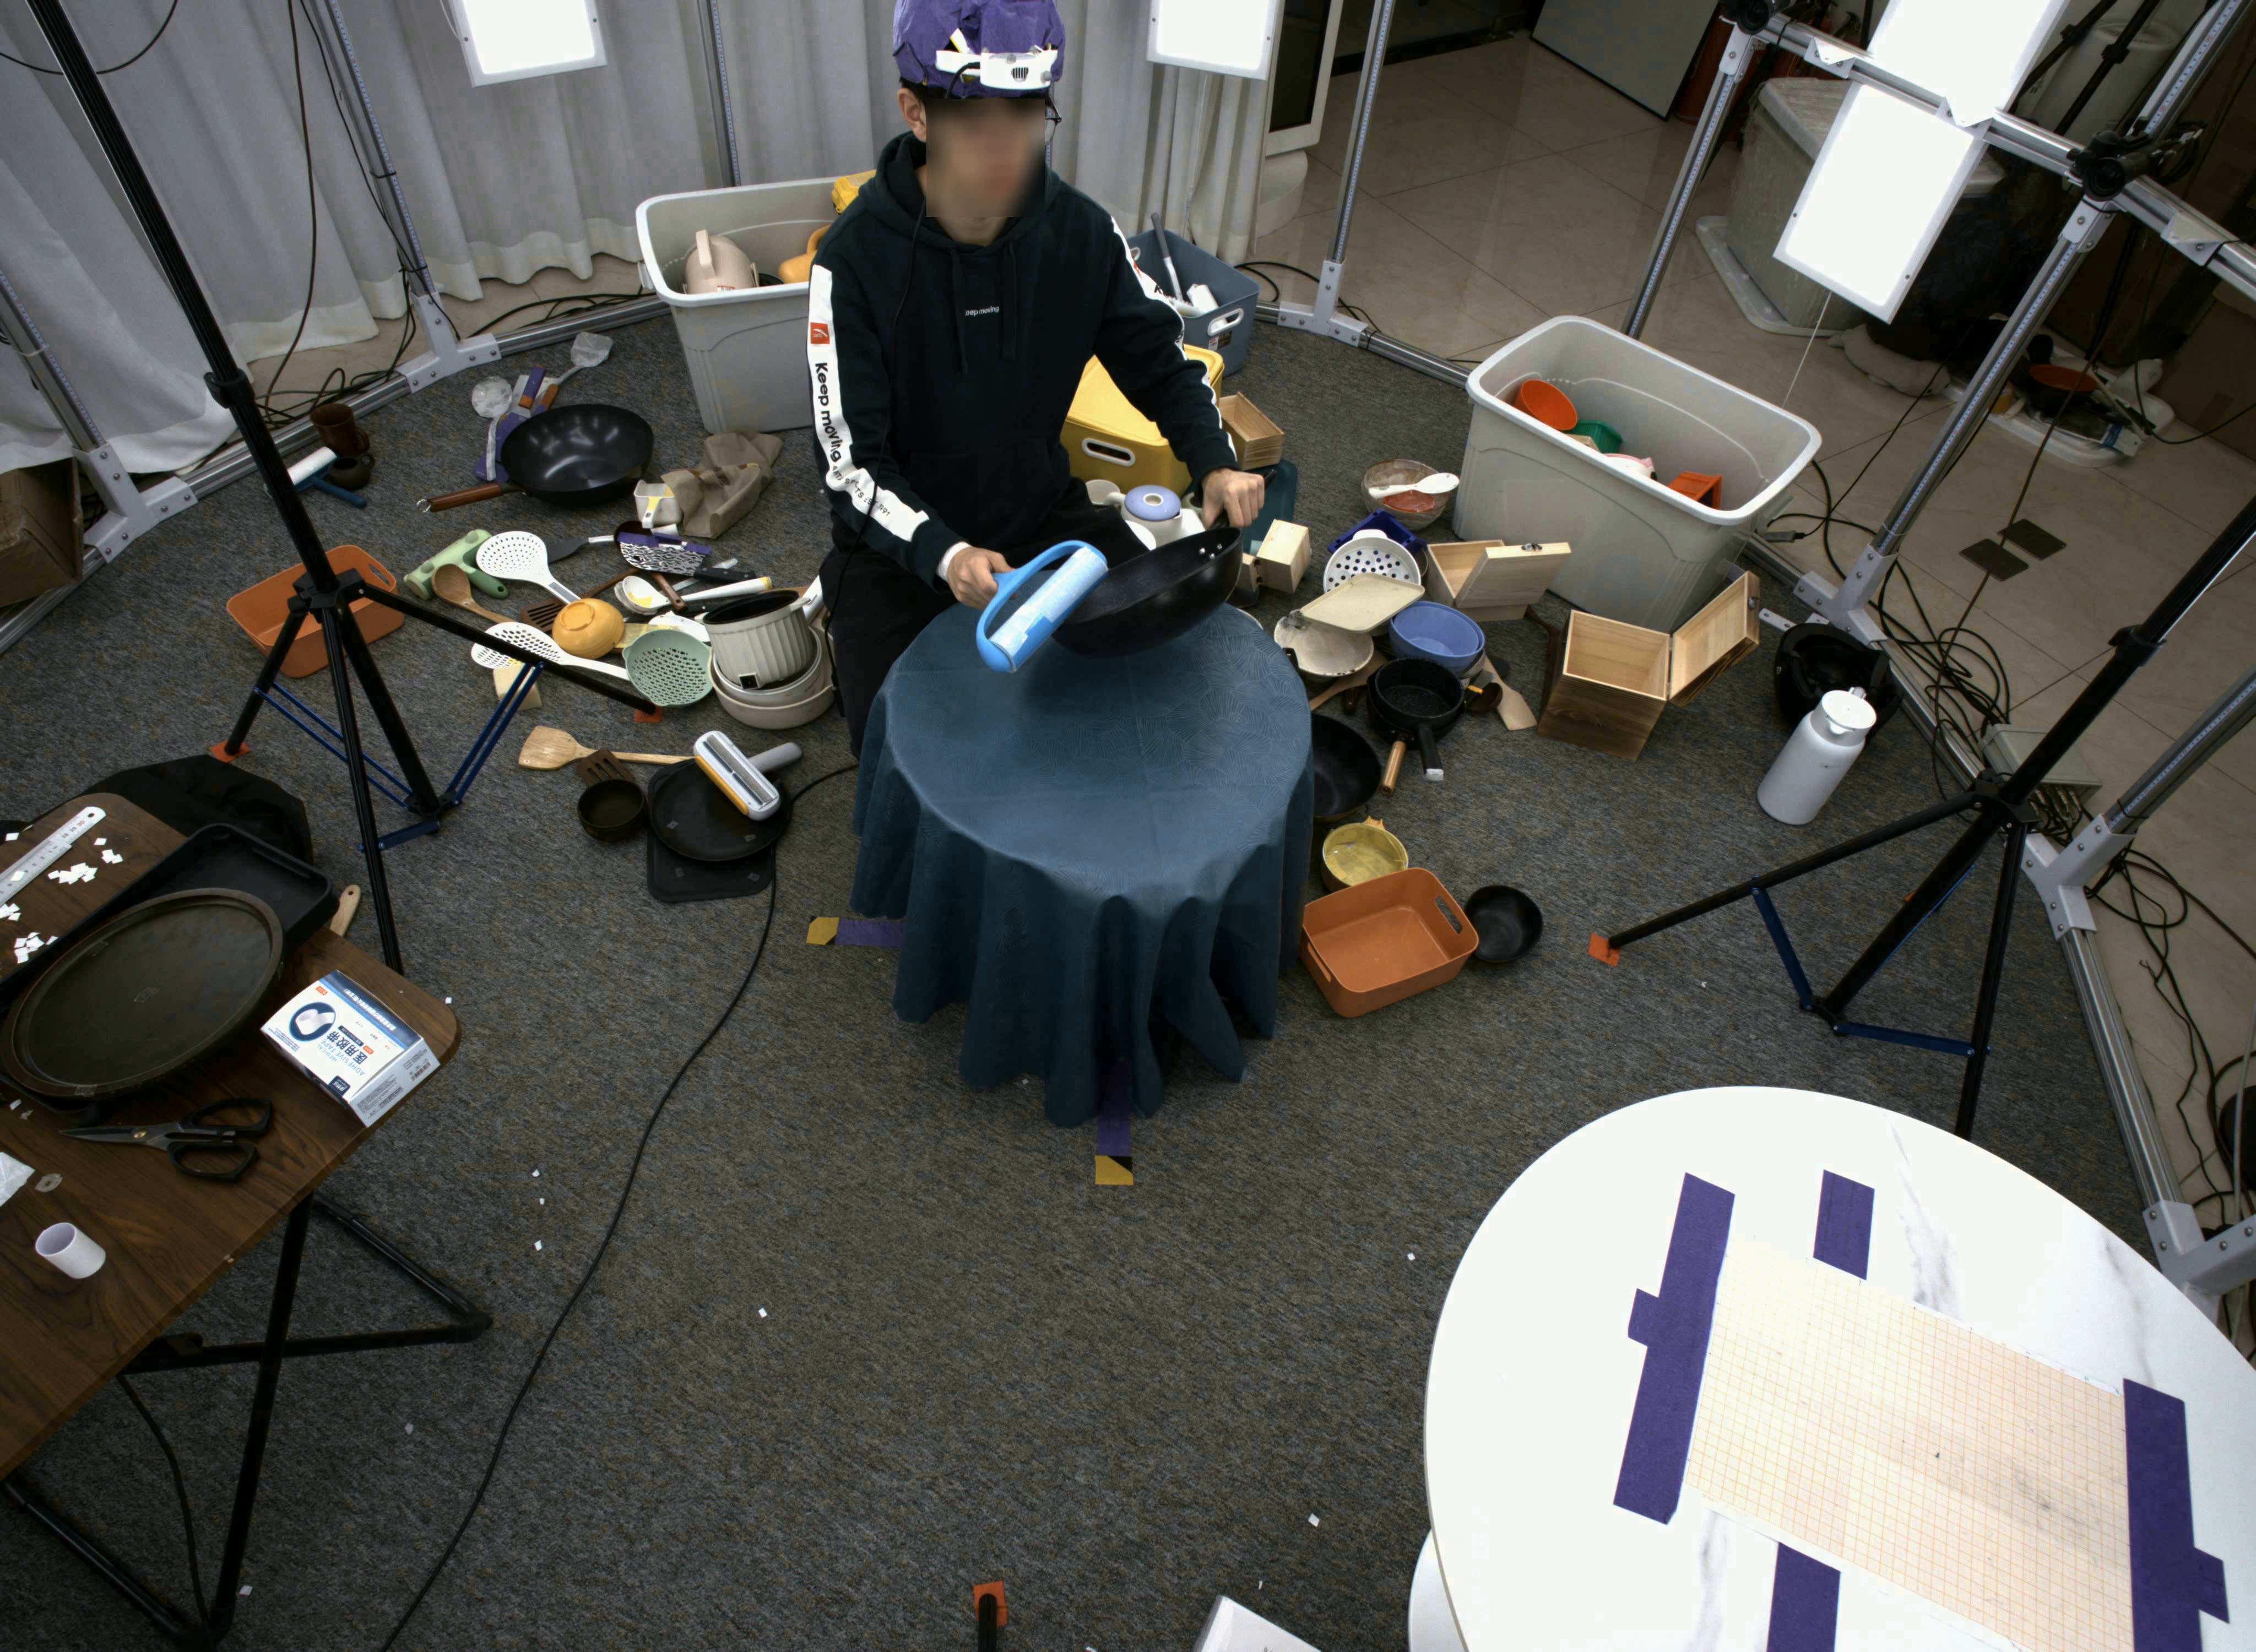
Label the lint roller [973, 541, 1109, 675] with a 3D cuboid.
[{"bbox_3d":[-0.149,-0.303,1.718,0.182,0.066,0.232,22,62,32],"label":"lint roller"}]

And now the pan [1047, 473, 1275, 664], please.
[{"bbox_3d":[0.078,-0.358,1.824,0.311,0.110,0.482,1,32,49],"label":"pan"}]
